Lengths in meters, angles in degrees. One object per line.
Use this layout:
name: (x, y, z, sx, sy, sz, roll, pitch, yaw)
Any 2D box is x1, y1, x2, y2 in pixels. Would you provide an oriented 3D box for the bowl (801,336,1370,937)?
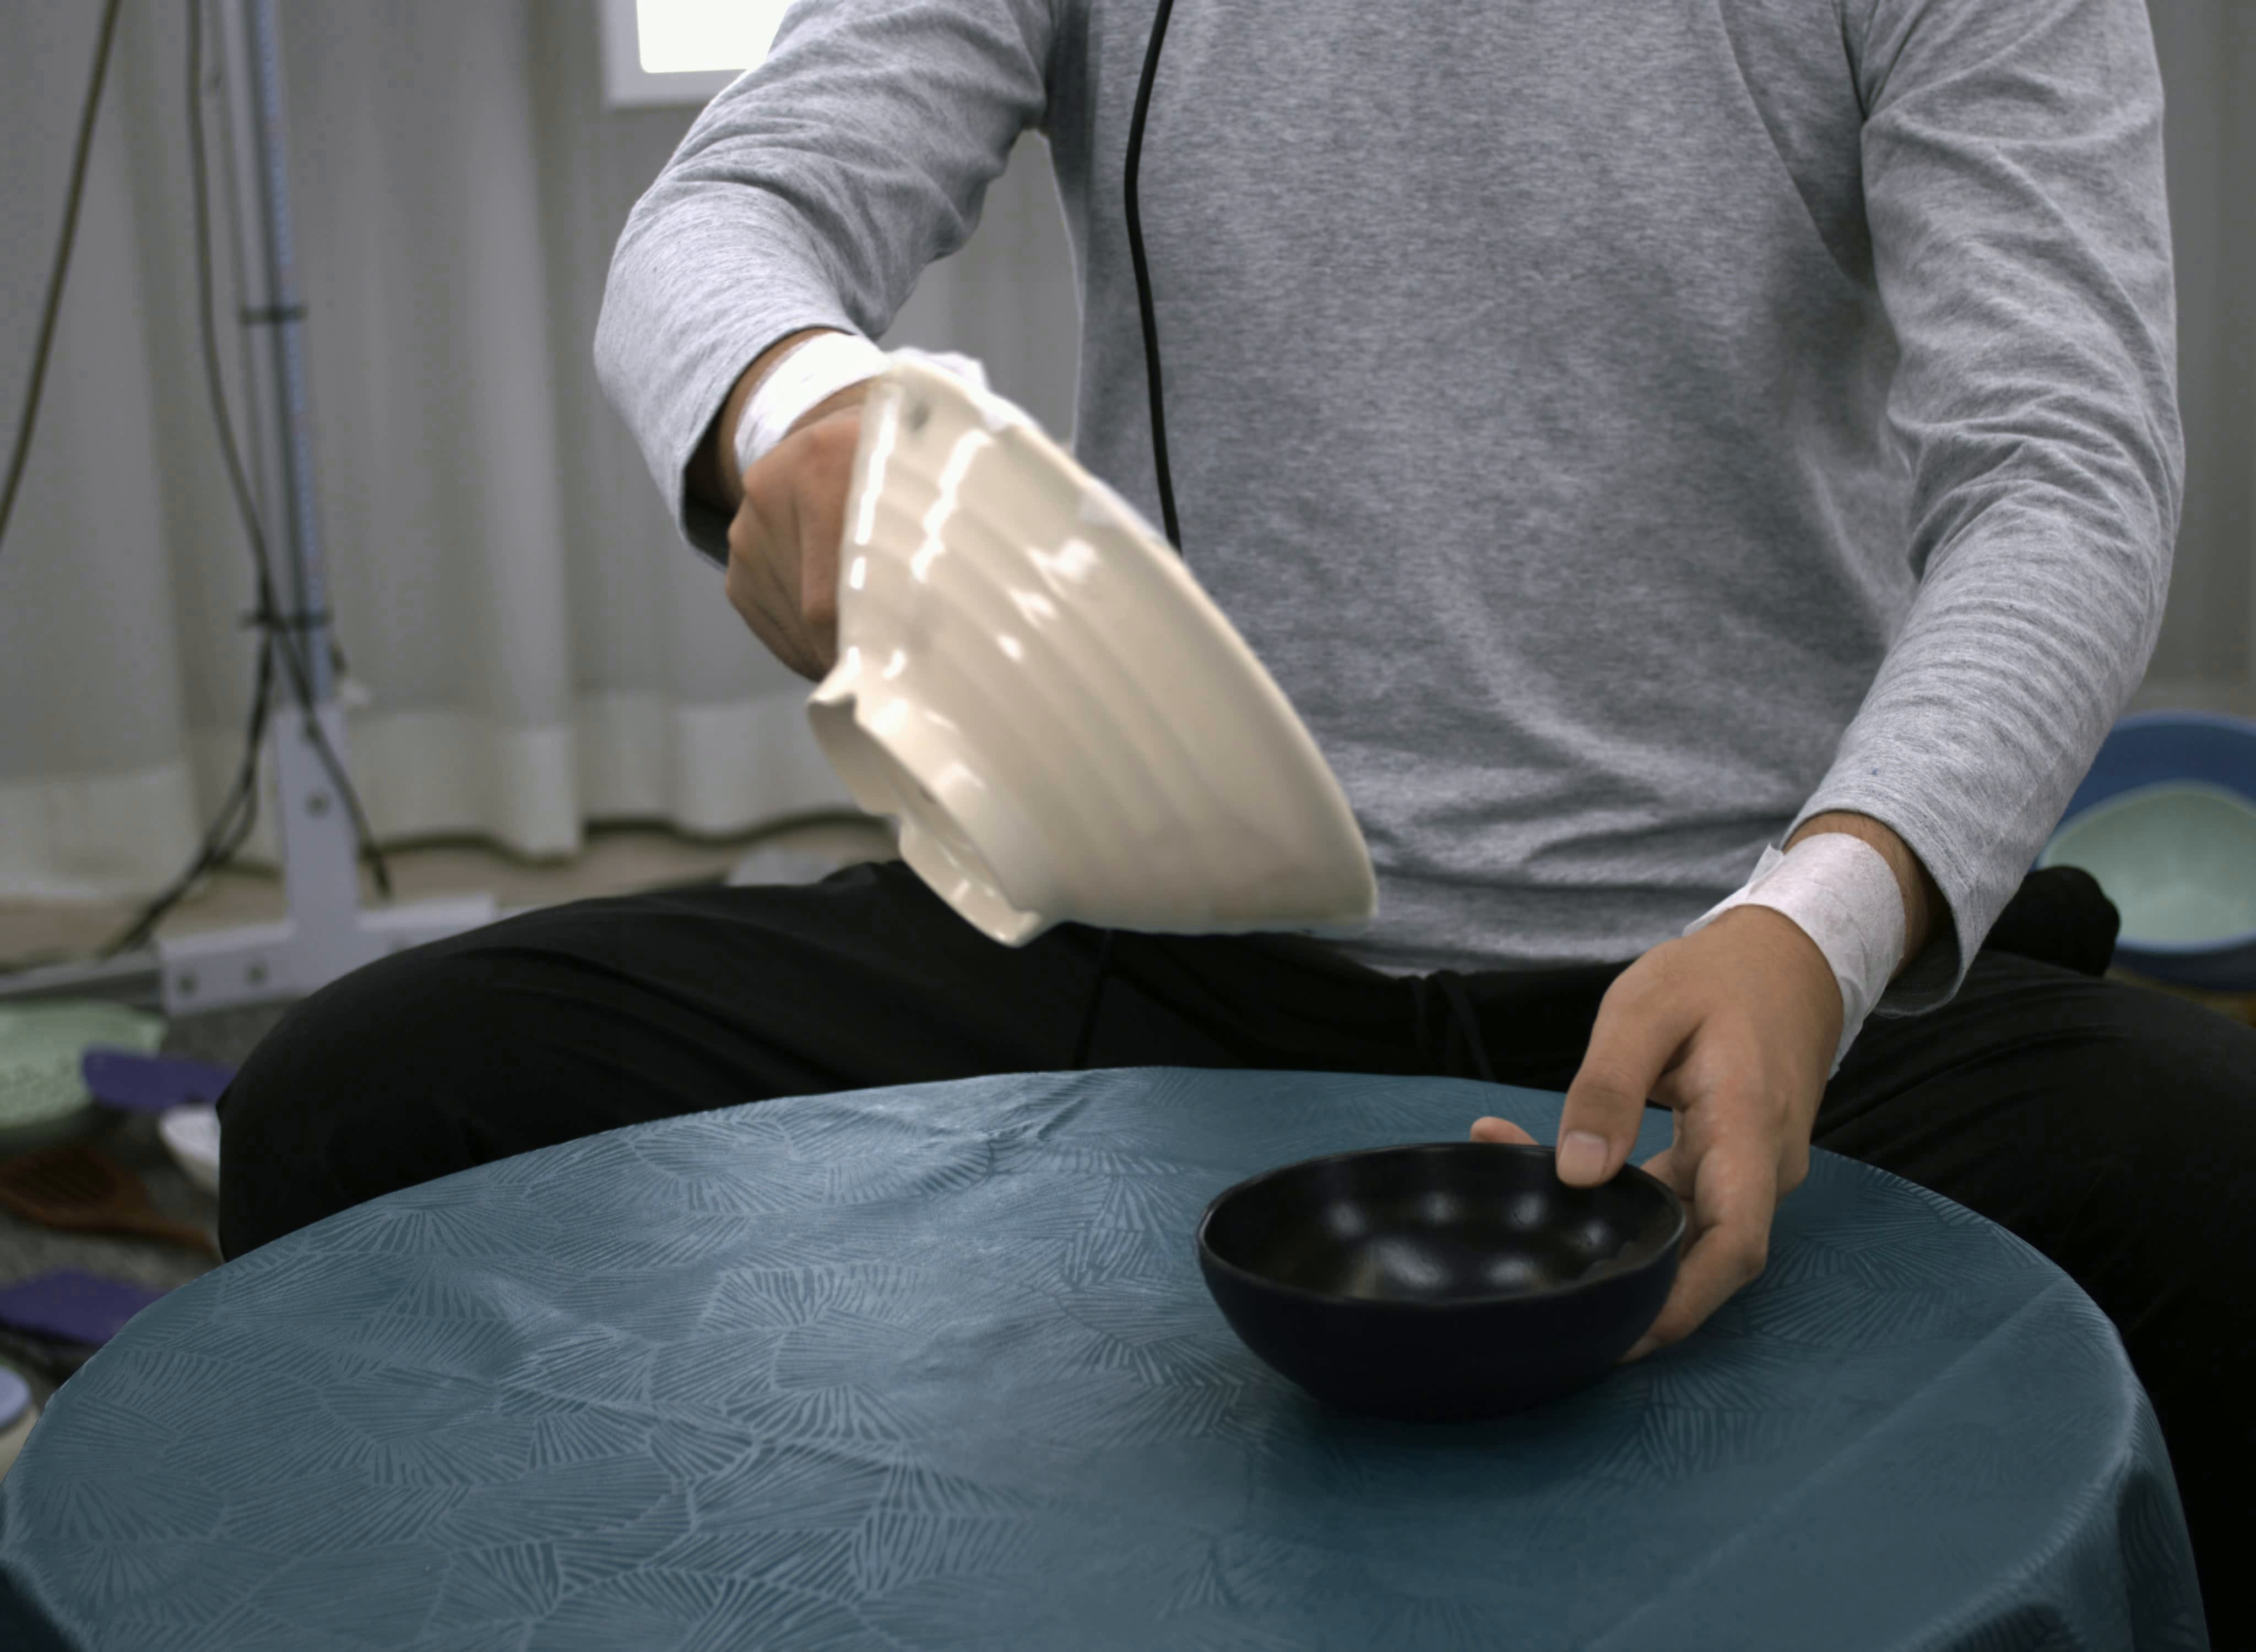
bowl: (-0.030, -0.028, 1.467, 0.078, 0.202, 0.205, -40, 27, -13)

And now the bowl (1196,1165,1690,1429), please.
bowl: (0.089, 0.136, 1.537, 0.139, 0.049, 0.140, -1, 11, 0)
